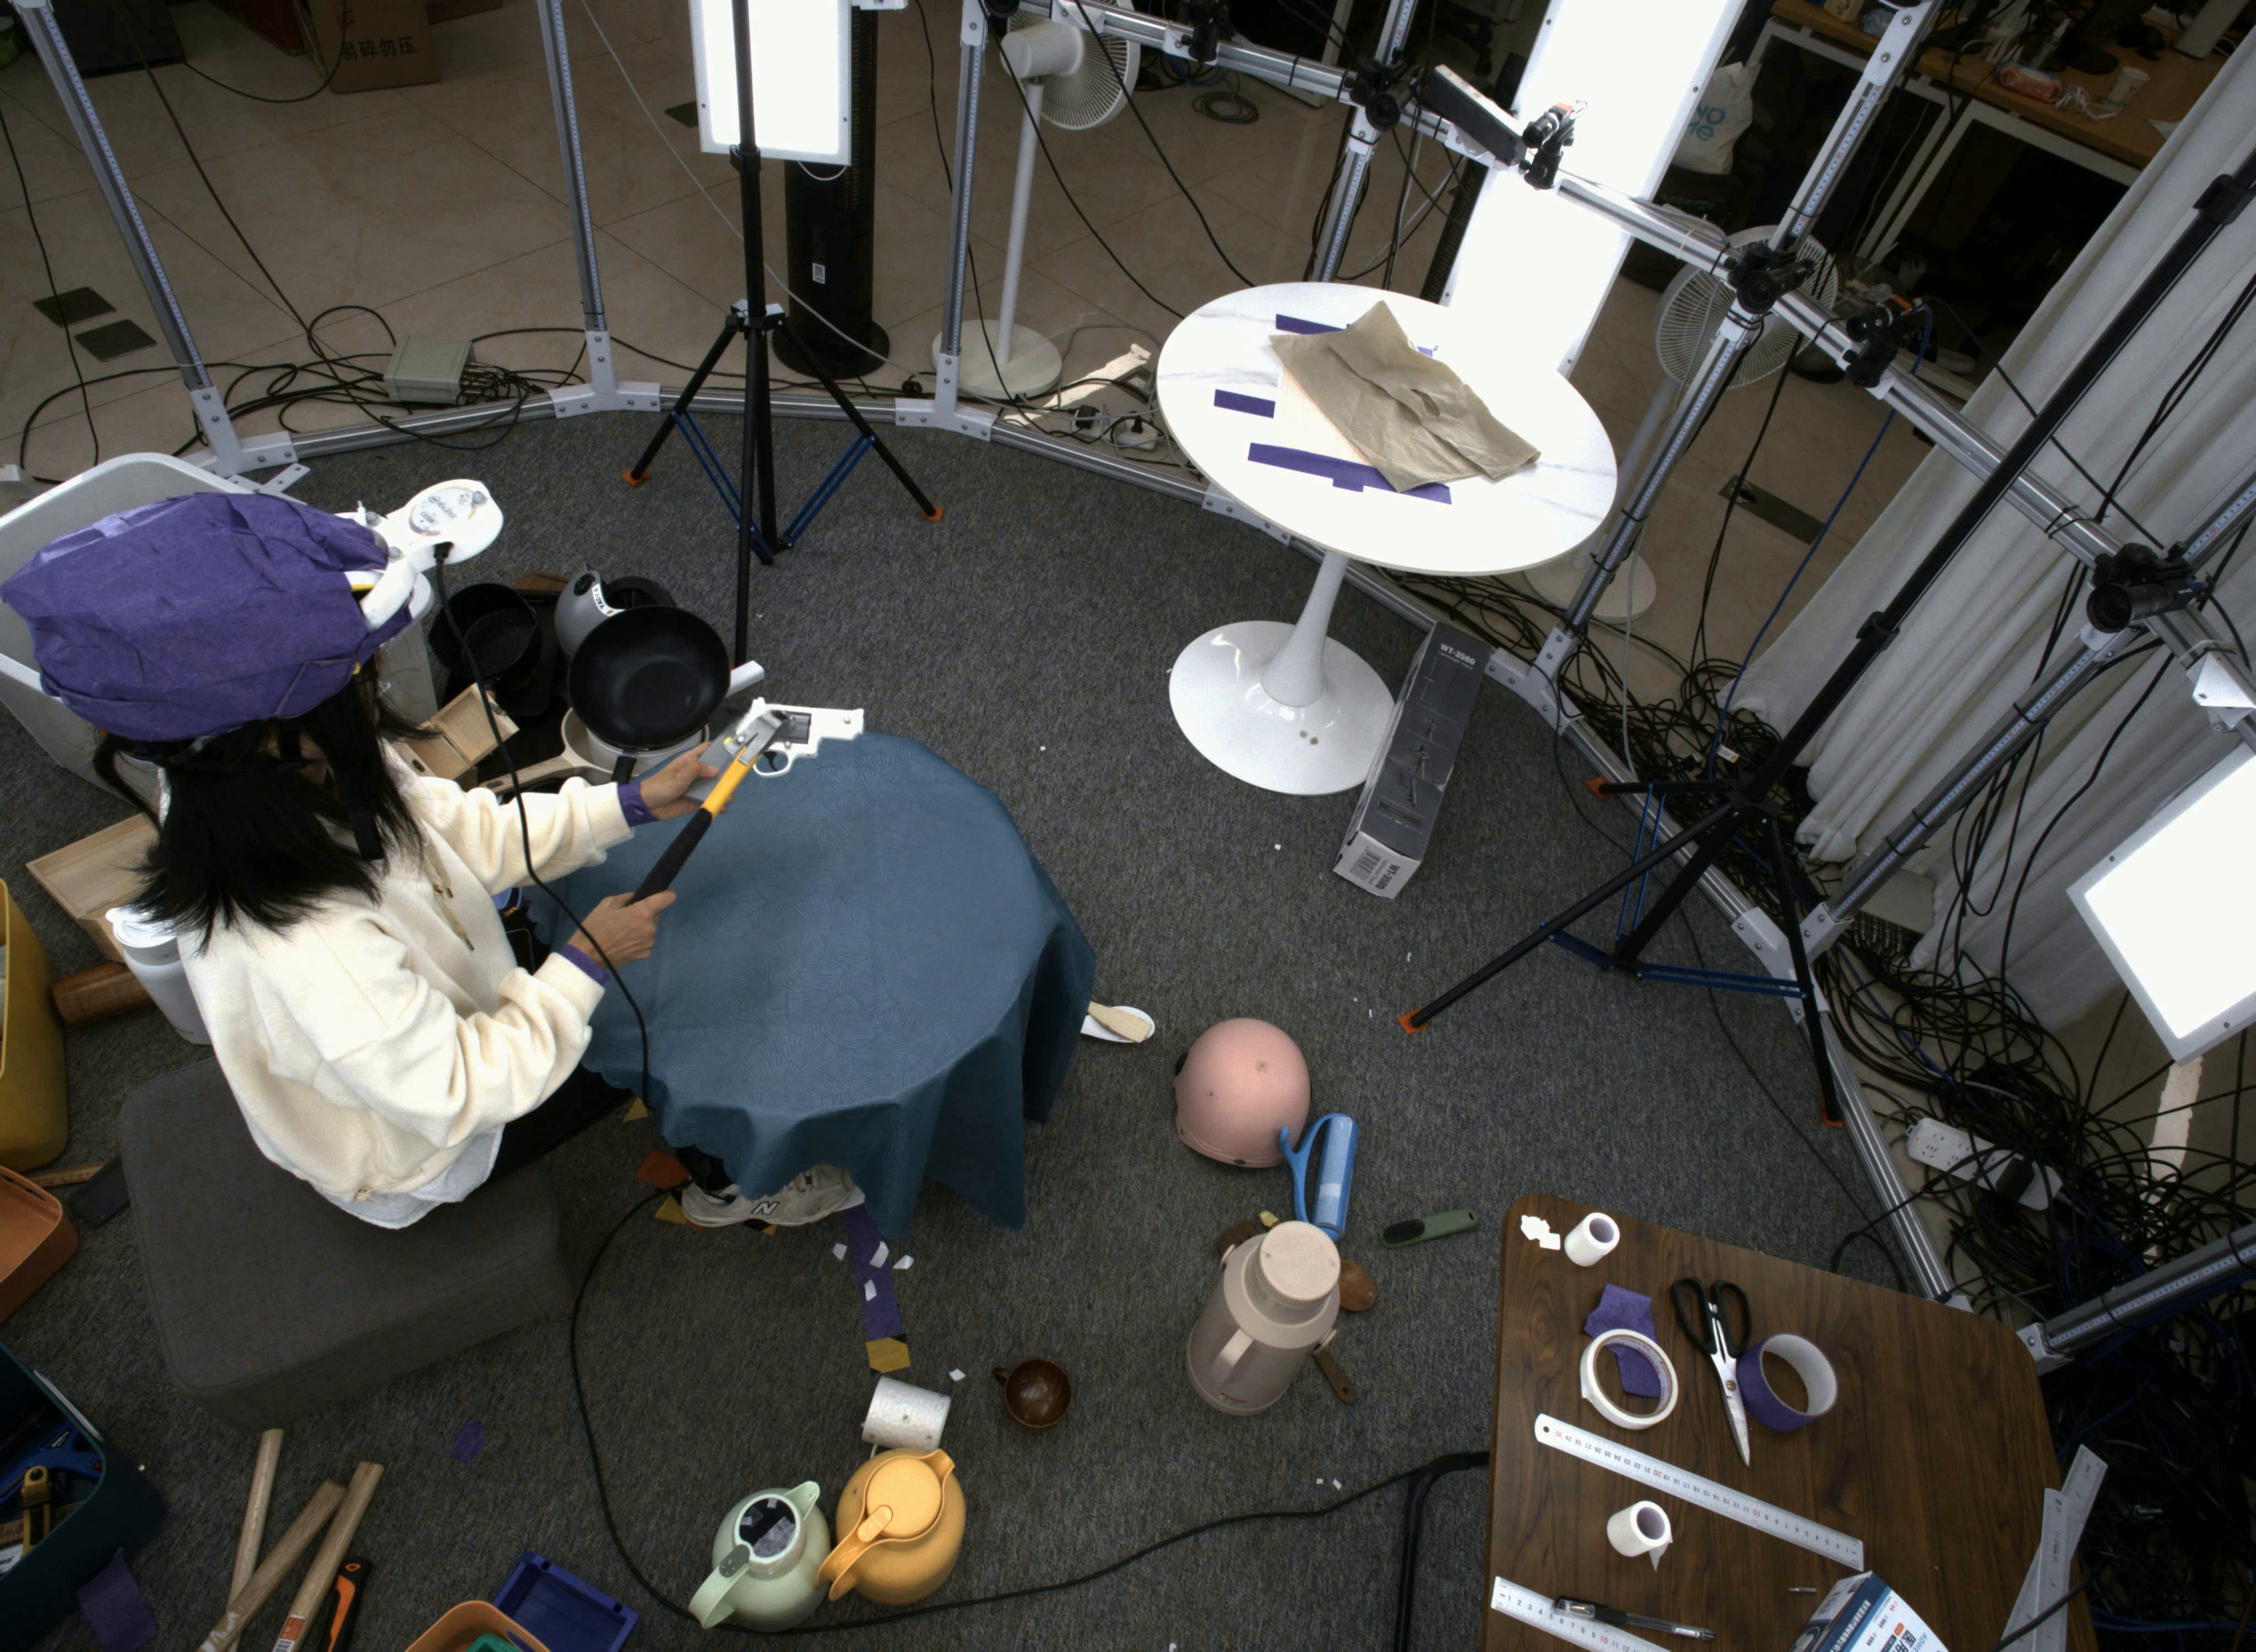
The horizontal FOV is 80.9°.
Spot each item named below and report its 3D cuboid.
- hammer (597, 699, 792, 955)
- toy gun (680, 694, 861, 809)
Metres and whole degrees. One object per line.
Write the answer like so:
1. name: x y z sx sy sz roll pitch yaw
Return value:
1. hammer: -0.491 0.001 1.432 0.032 0.130 0.339 37 94 -7
2. toy gun: -0.432 -0.091 1.568 0.208 0.039 0.141 2 70 -7
